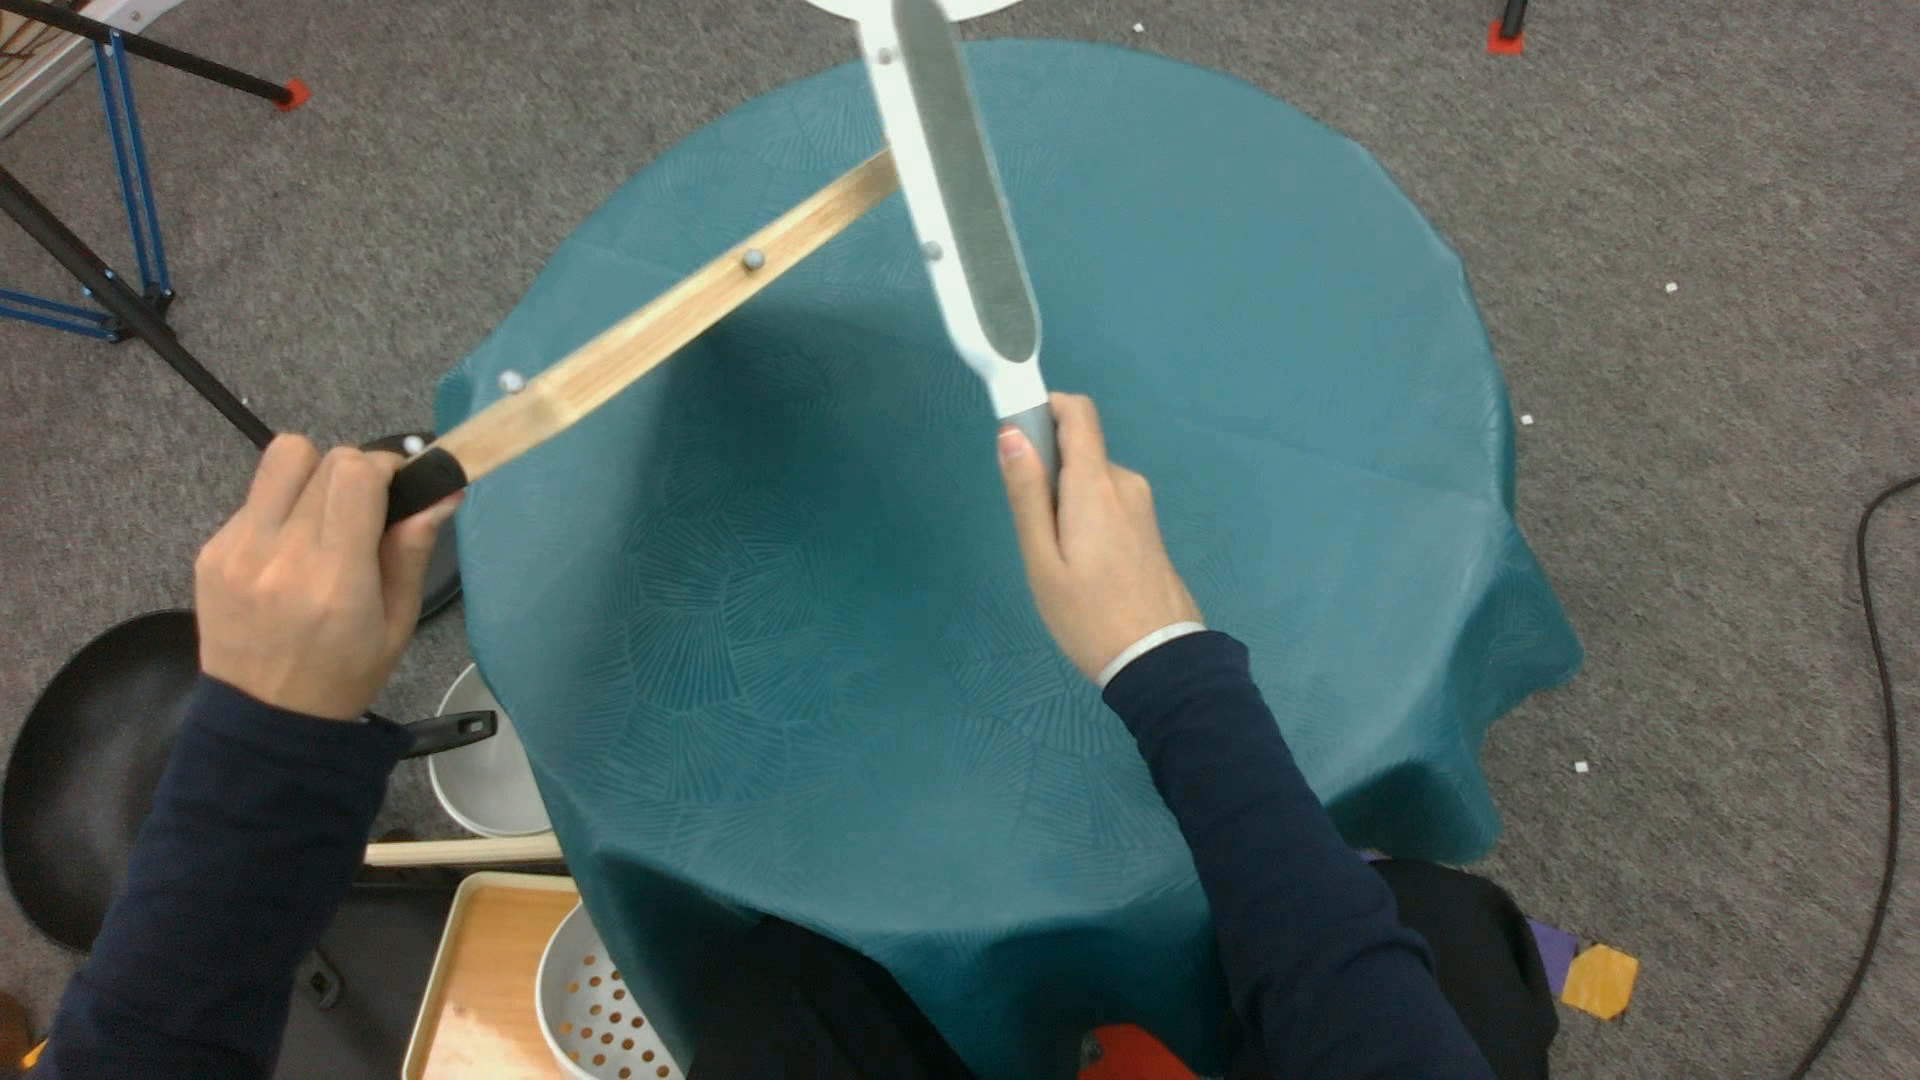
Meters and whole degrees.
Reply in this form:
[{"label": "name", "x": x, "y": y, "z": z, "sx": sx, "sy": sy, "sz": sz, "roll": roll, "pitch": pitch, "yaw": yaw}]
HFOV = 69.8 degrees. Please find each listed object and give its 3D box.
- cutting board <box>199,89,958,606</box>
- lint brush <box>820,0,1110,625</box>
[{"label": "cutting board", "x": -0.162, "y": -0.102, "z": 0.651, "sx": 0.249, "sy": 0.023, "sz": 0.350, "roll": -21, "pitch": 20, "yaw": 36}, {"label": "lint brush", "x": 0.005, "y": -0.106, "z": 0.615, "sx": 0.021, "sy": 0.060, "sz": 0.308, "roll": -19, "pitch": 95, "yaw": 31}]
